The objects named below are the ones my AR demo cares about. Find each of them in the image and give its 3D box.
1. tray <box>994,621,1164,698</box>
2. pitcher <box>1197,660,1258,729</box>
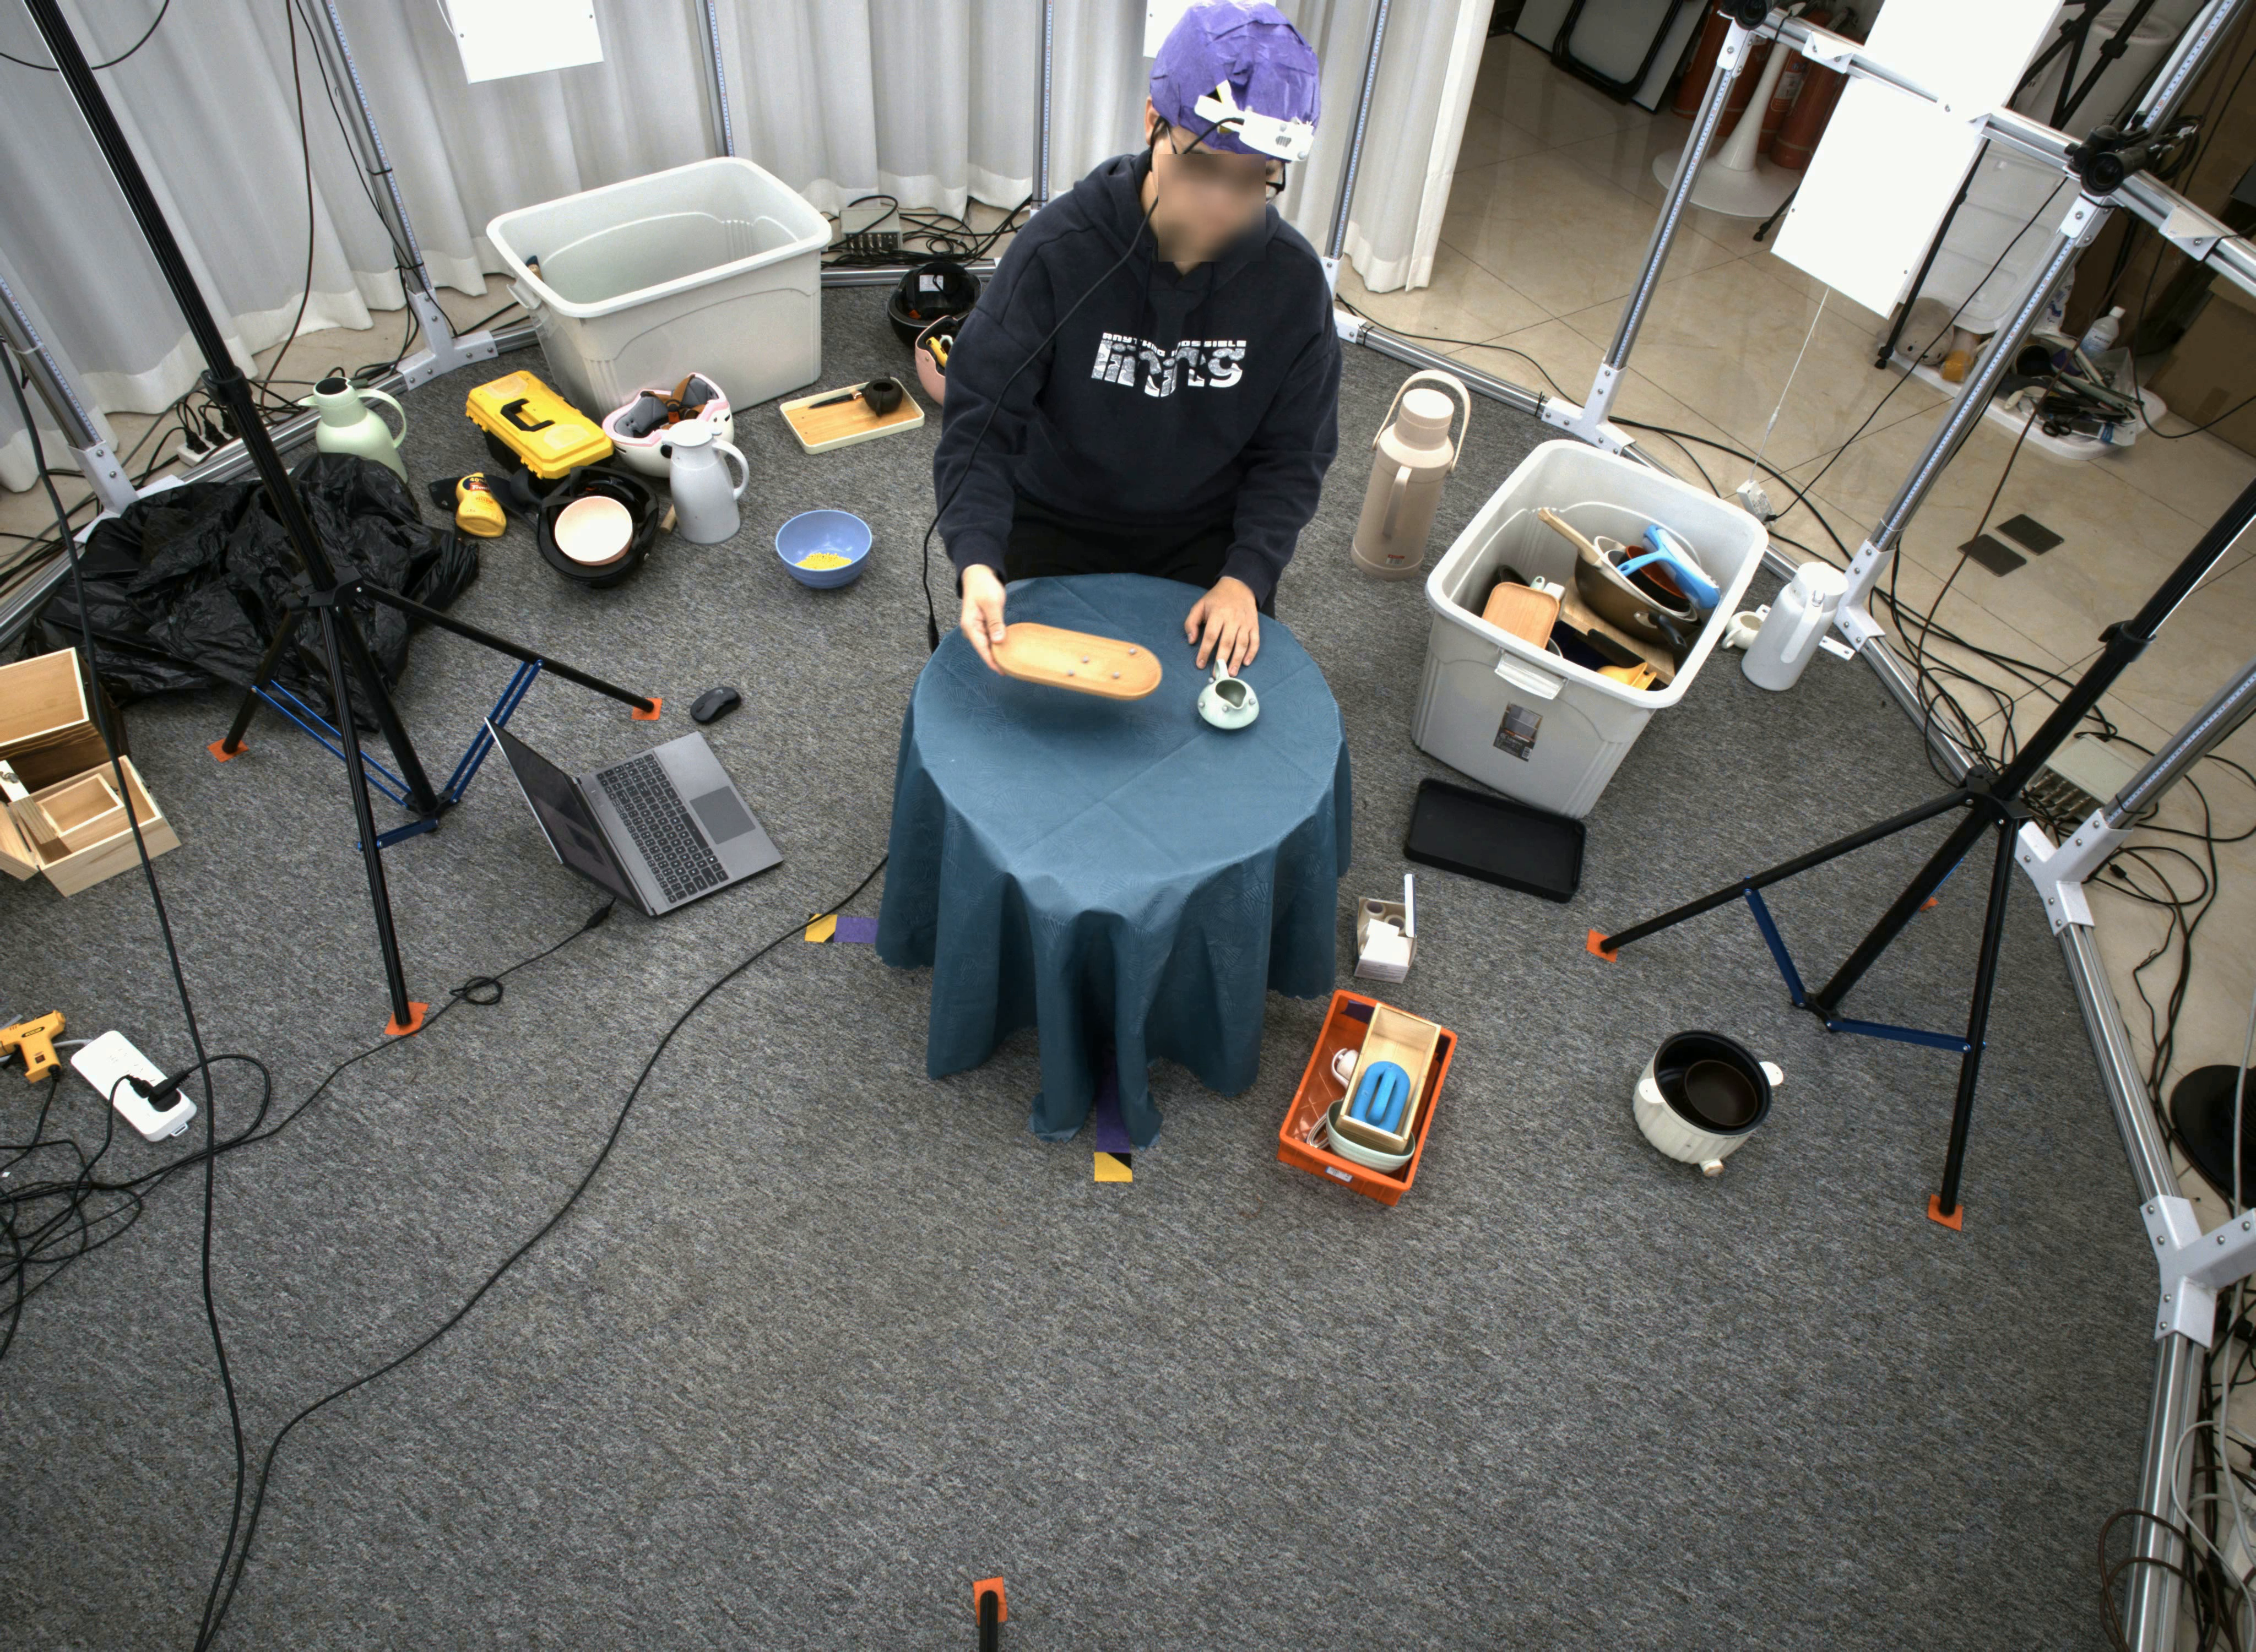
[{"bbox_3d":[-0.066,-0.224,1.731,0.231,0.020,0.104,10,49,1],"label":"tray"},{"bbox_3d":[0.138,-0.183,1.799,0.086,0.059,0.111,-8,48,-13],"label":"pitcher"}]
